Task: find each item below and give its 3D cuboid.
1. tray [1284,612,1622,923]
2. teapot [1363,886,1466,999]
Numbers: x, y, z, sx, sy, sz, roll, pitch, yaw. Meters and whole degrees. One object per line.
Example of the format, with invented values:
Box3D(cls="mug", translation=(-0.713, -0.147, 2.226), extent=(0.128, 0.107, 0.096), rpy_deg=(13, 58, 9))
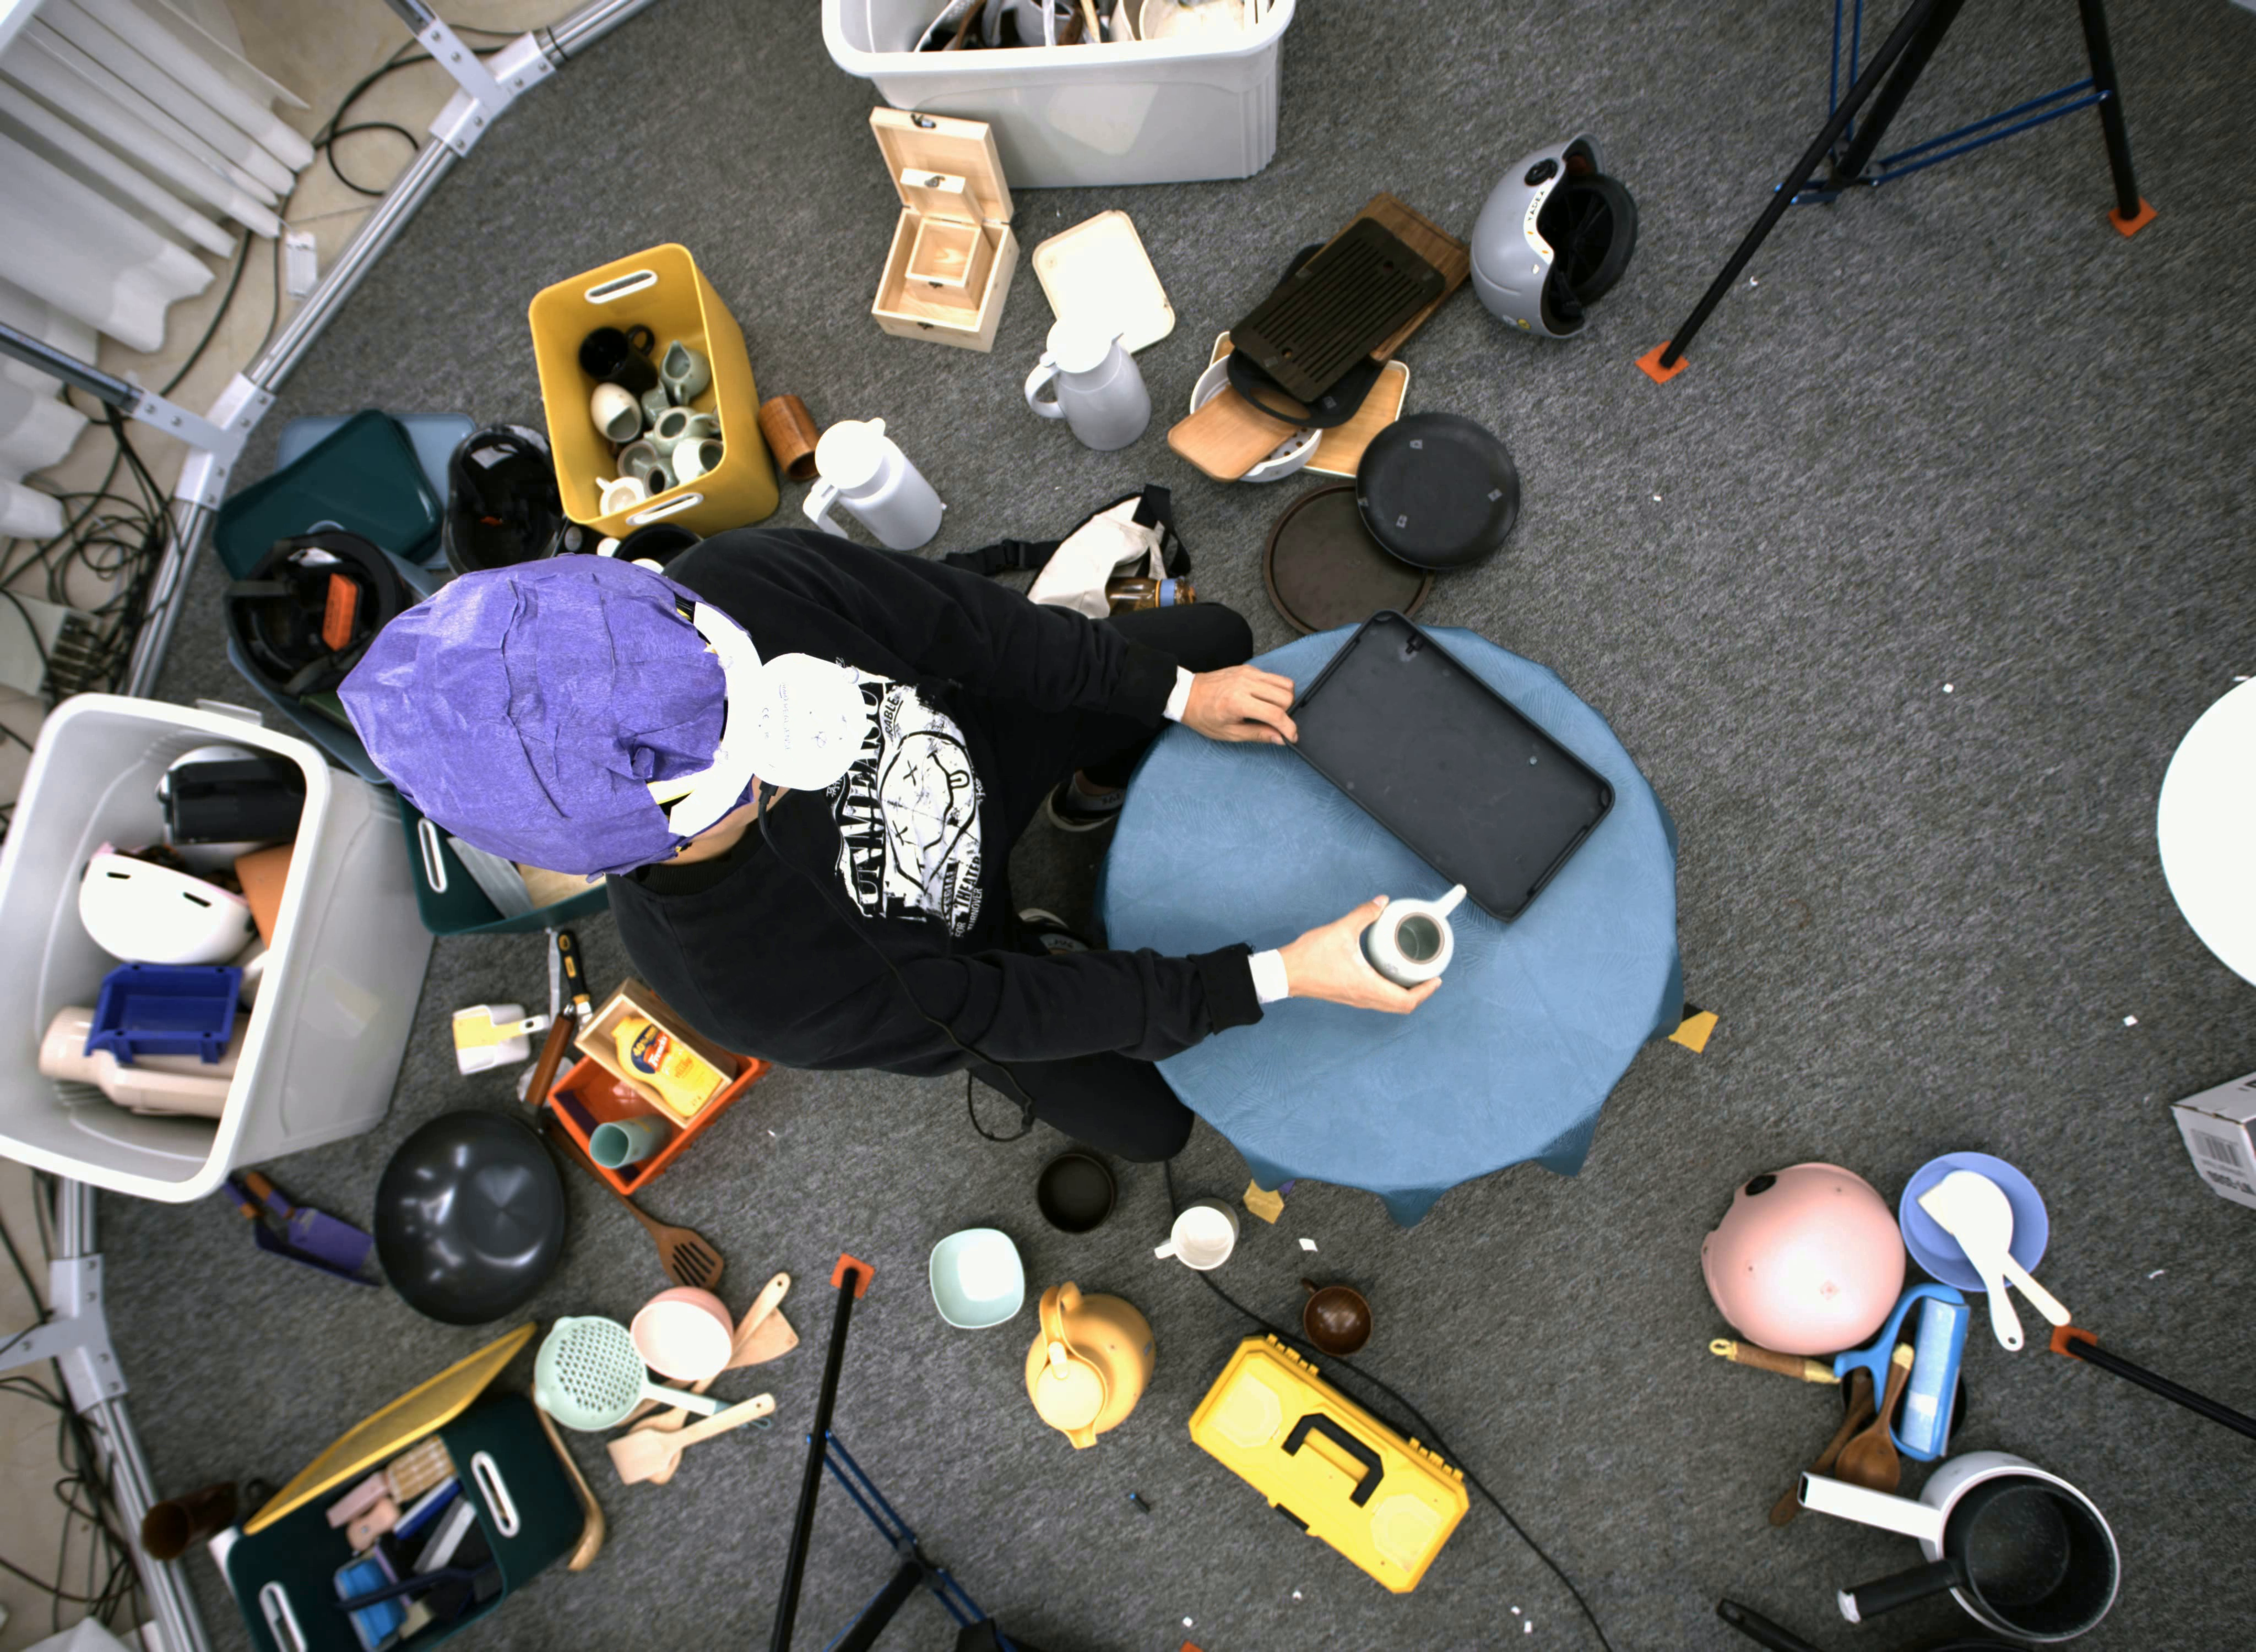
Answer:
Box3D(cls="tray", translation=(0.334, -0.062, 1.425), extent=(0.317, 0.037, 0.184), rpy_deg=(39, 92, 6))
Box3D(cls="teapot", translation=(0.278, 0.116, 1.370), extent=(0.088, 0.075, 0.142), rpy_deg=(45, 76, 2))
